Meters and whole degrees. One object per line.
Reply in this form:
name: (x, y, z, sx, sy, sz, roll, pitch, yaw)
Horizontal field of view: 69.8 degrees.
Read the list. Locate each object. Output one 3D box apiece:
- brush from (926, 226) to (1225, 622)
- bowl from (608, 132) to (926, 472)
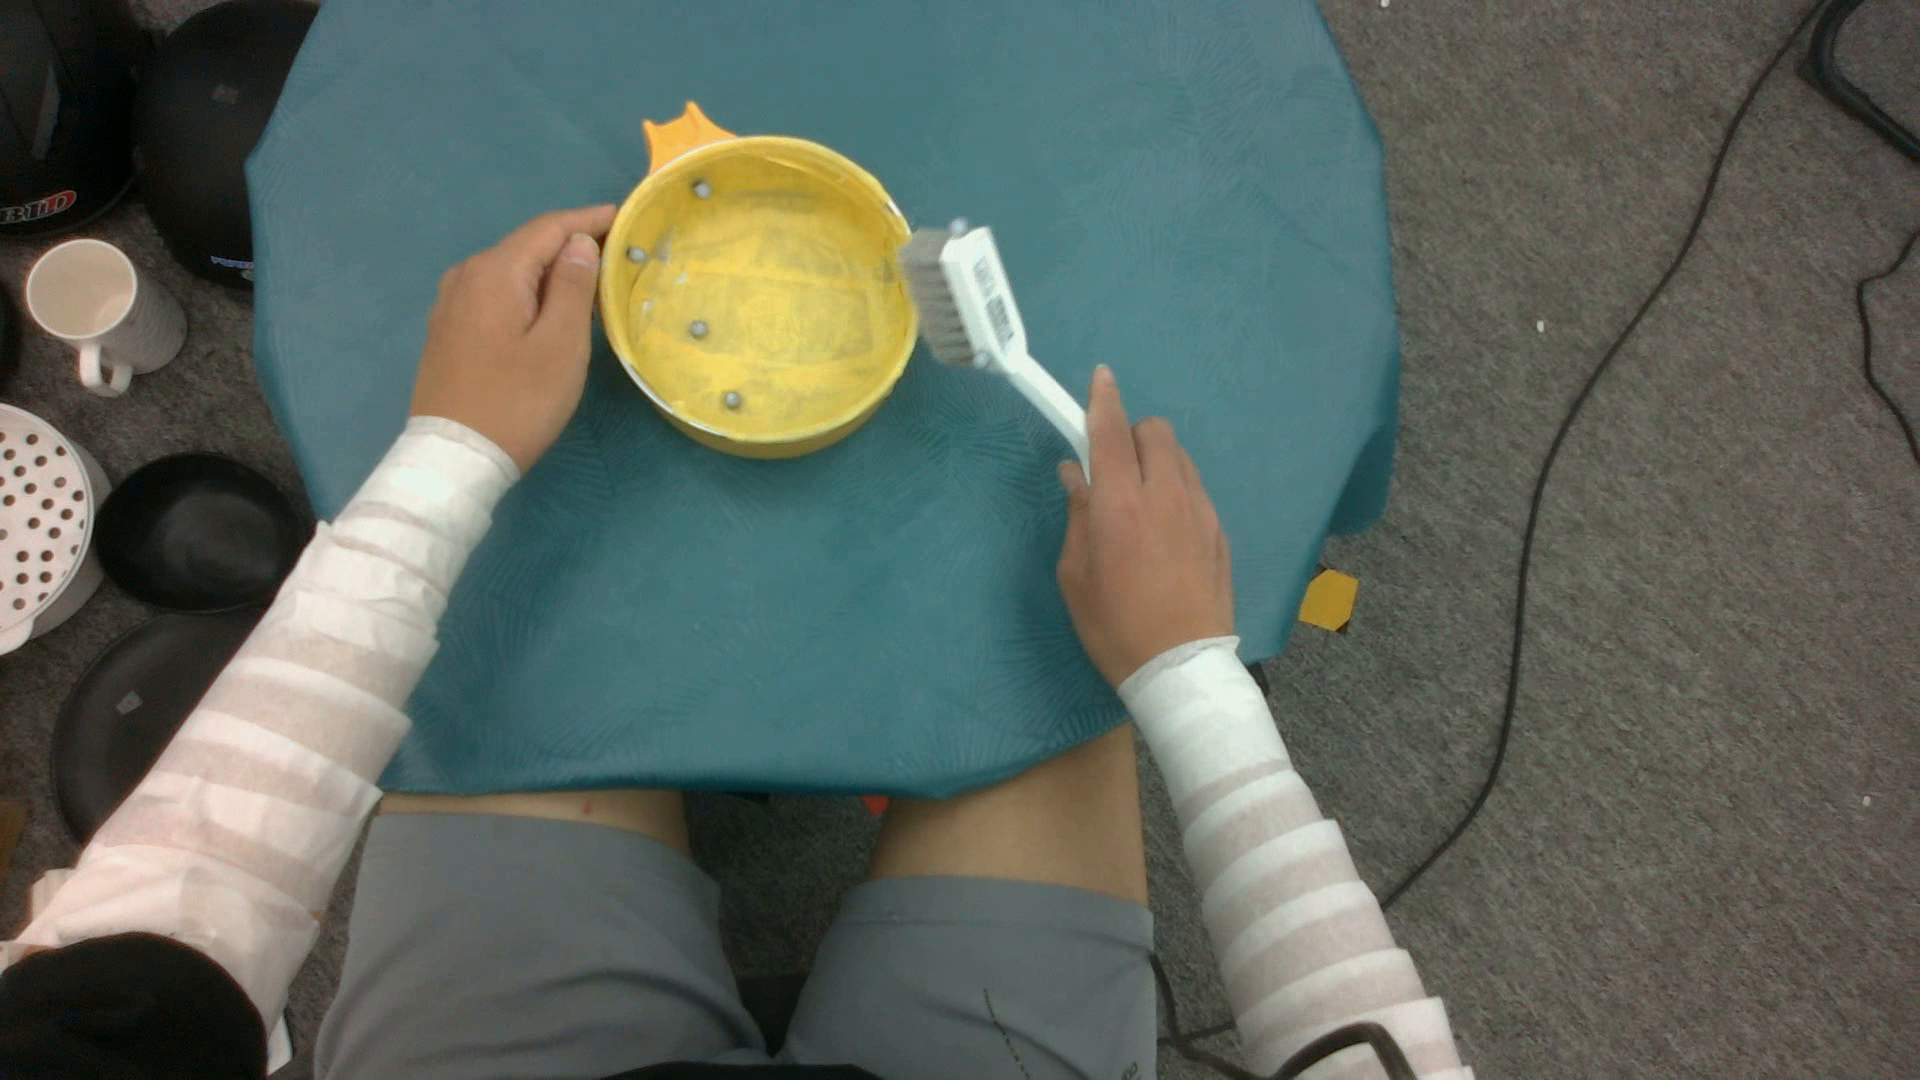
brush: (0.058, -0.052, 0.693, 0.243, 0.050, 0.034, 56, 37, -17)
bowl: (-0.101, -0.120, 0.700, 0.153, 0.074, 0.179, -31, 82, -8)
